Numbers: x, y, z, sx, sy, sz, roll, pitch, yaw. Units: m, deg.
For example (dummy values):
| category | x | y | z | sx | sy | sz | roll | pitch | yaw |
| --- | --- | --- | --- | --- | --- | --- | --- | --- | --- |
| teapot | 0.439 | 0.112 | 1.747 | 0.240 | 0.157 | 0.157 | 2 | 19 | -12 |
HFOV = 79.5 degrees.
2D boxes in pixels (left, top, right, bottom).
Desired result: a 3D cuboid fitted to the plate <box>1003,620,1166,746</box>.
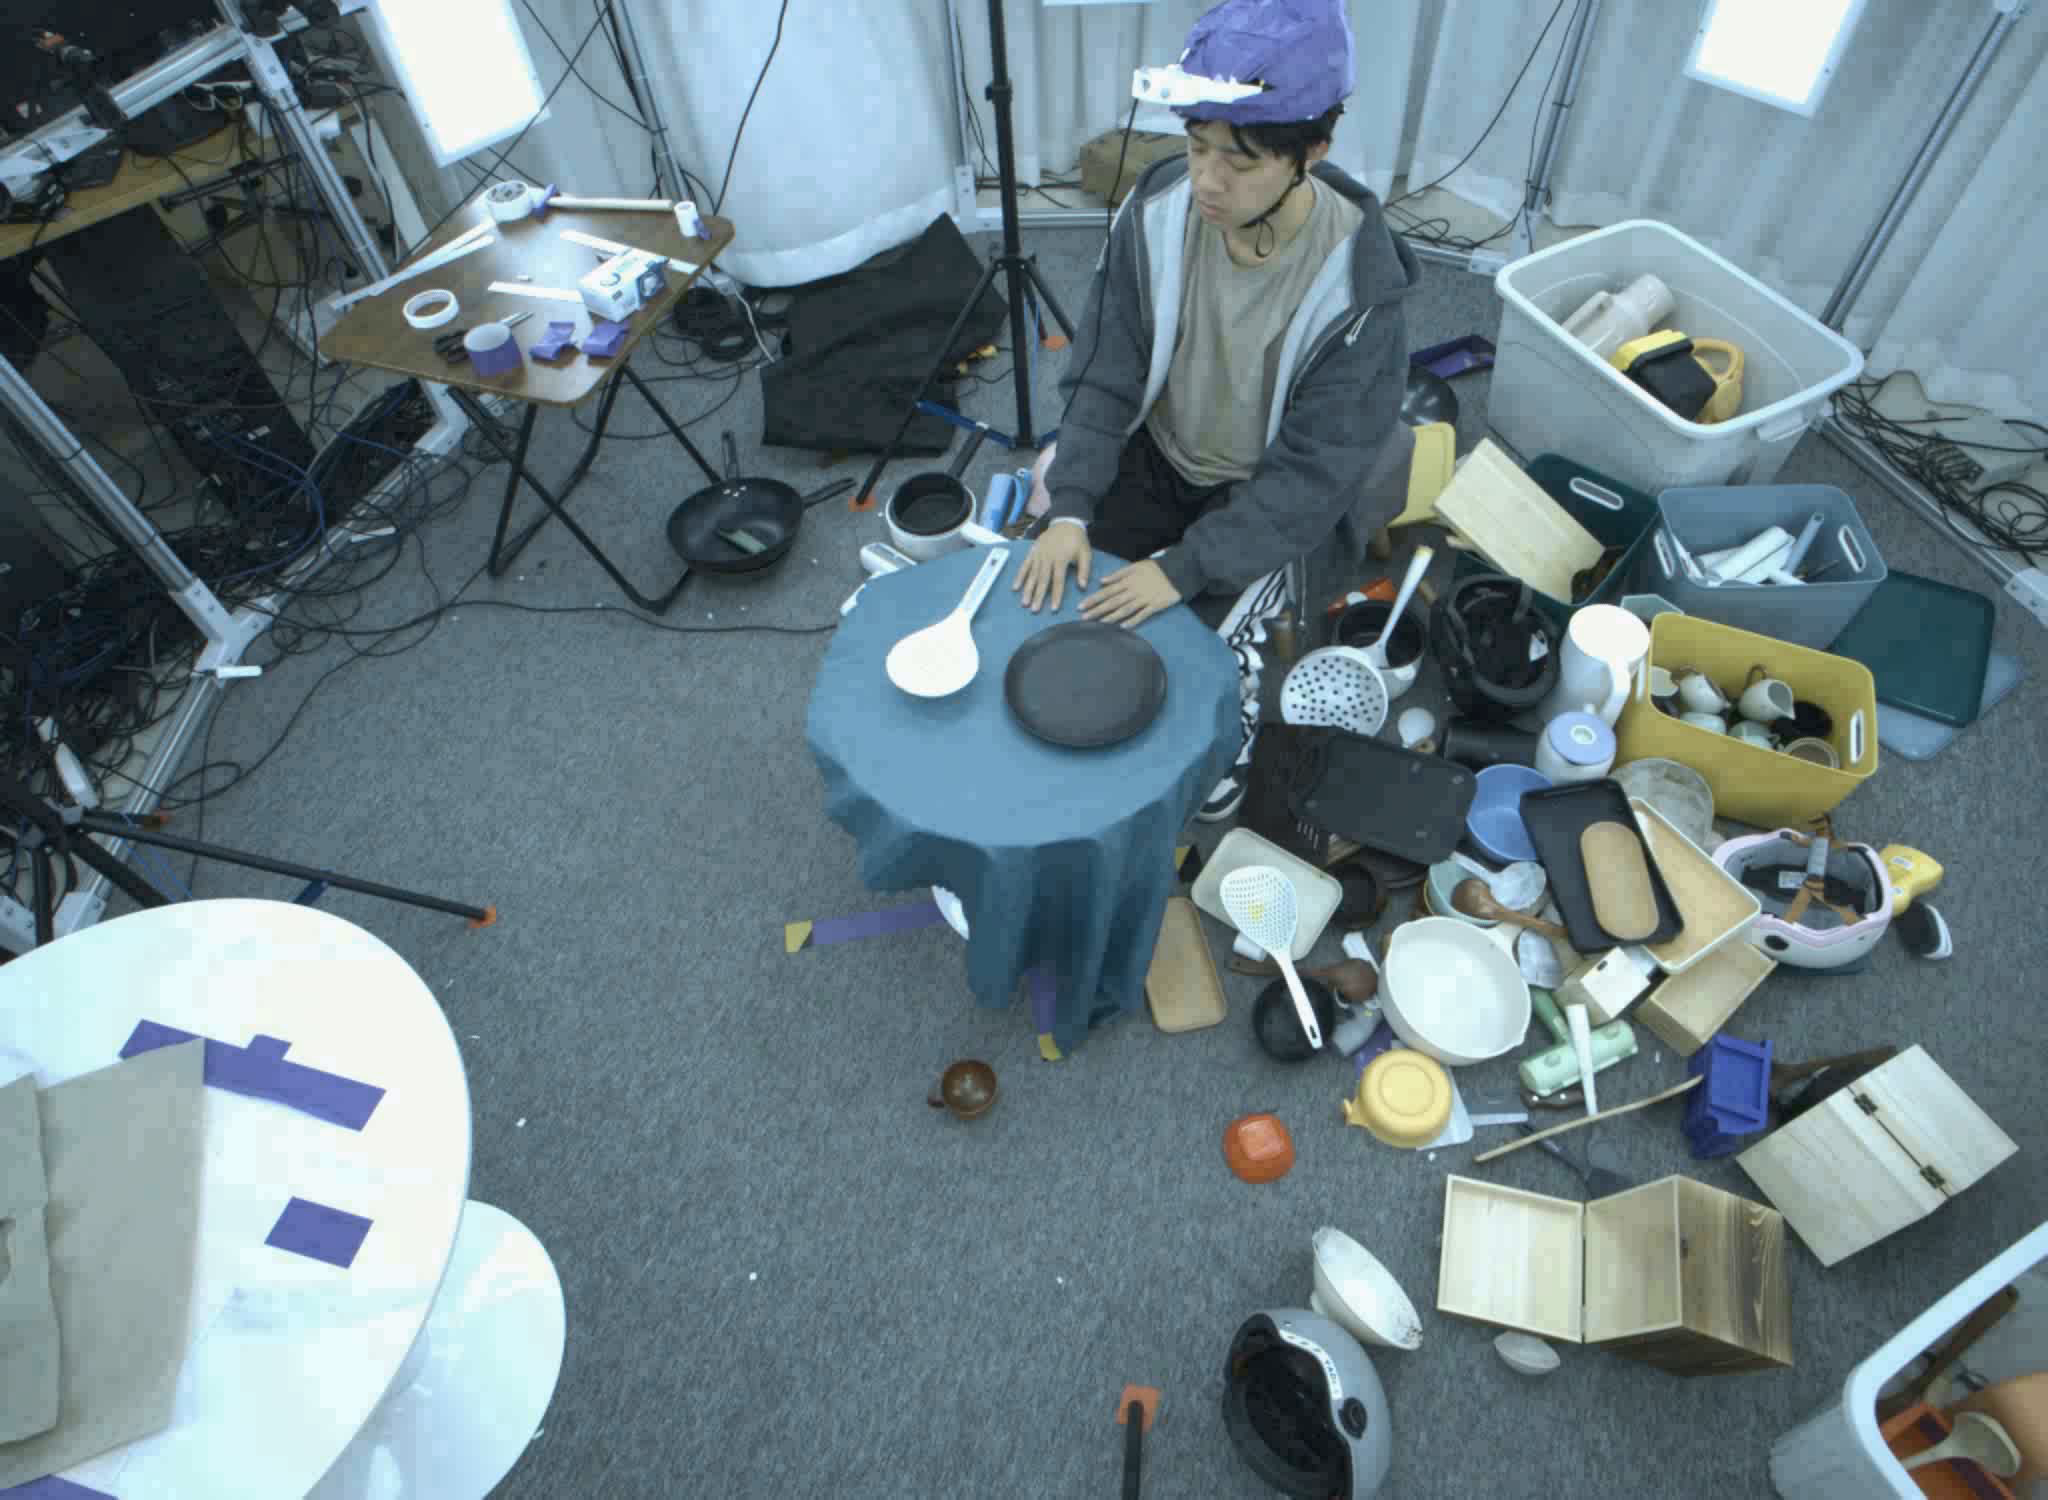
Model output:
| category | x | y | z | sx | sy | sz | roll | pitch | yaw |
| --- | --- | --- | --- | --- | --- | --- | --- | --- | --- |
| plate | 0.090 | -0.099 | 1.843 | 0.244 | 0.024 | 0.242 | 0 | 55 | 2 |

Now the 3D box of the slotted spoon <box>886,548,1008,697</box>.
| category | x | y | z | sx | sy | sz | roll | pitch | yaw |
| --- | --- | --- | --- | --- | --- | --- | --- | --- | --- |
| slotted spoon | -0.101 | -0.204 | 1.910 | 0.135 | 0.046 | 0.349 | 17 | 56 | 11 |
